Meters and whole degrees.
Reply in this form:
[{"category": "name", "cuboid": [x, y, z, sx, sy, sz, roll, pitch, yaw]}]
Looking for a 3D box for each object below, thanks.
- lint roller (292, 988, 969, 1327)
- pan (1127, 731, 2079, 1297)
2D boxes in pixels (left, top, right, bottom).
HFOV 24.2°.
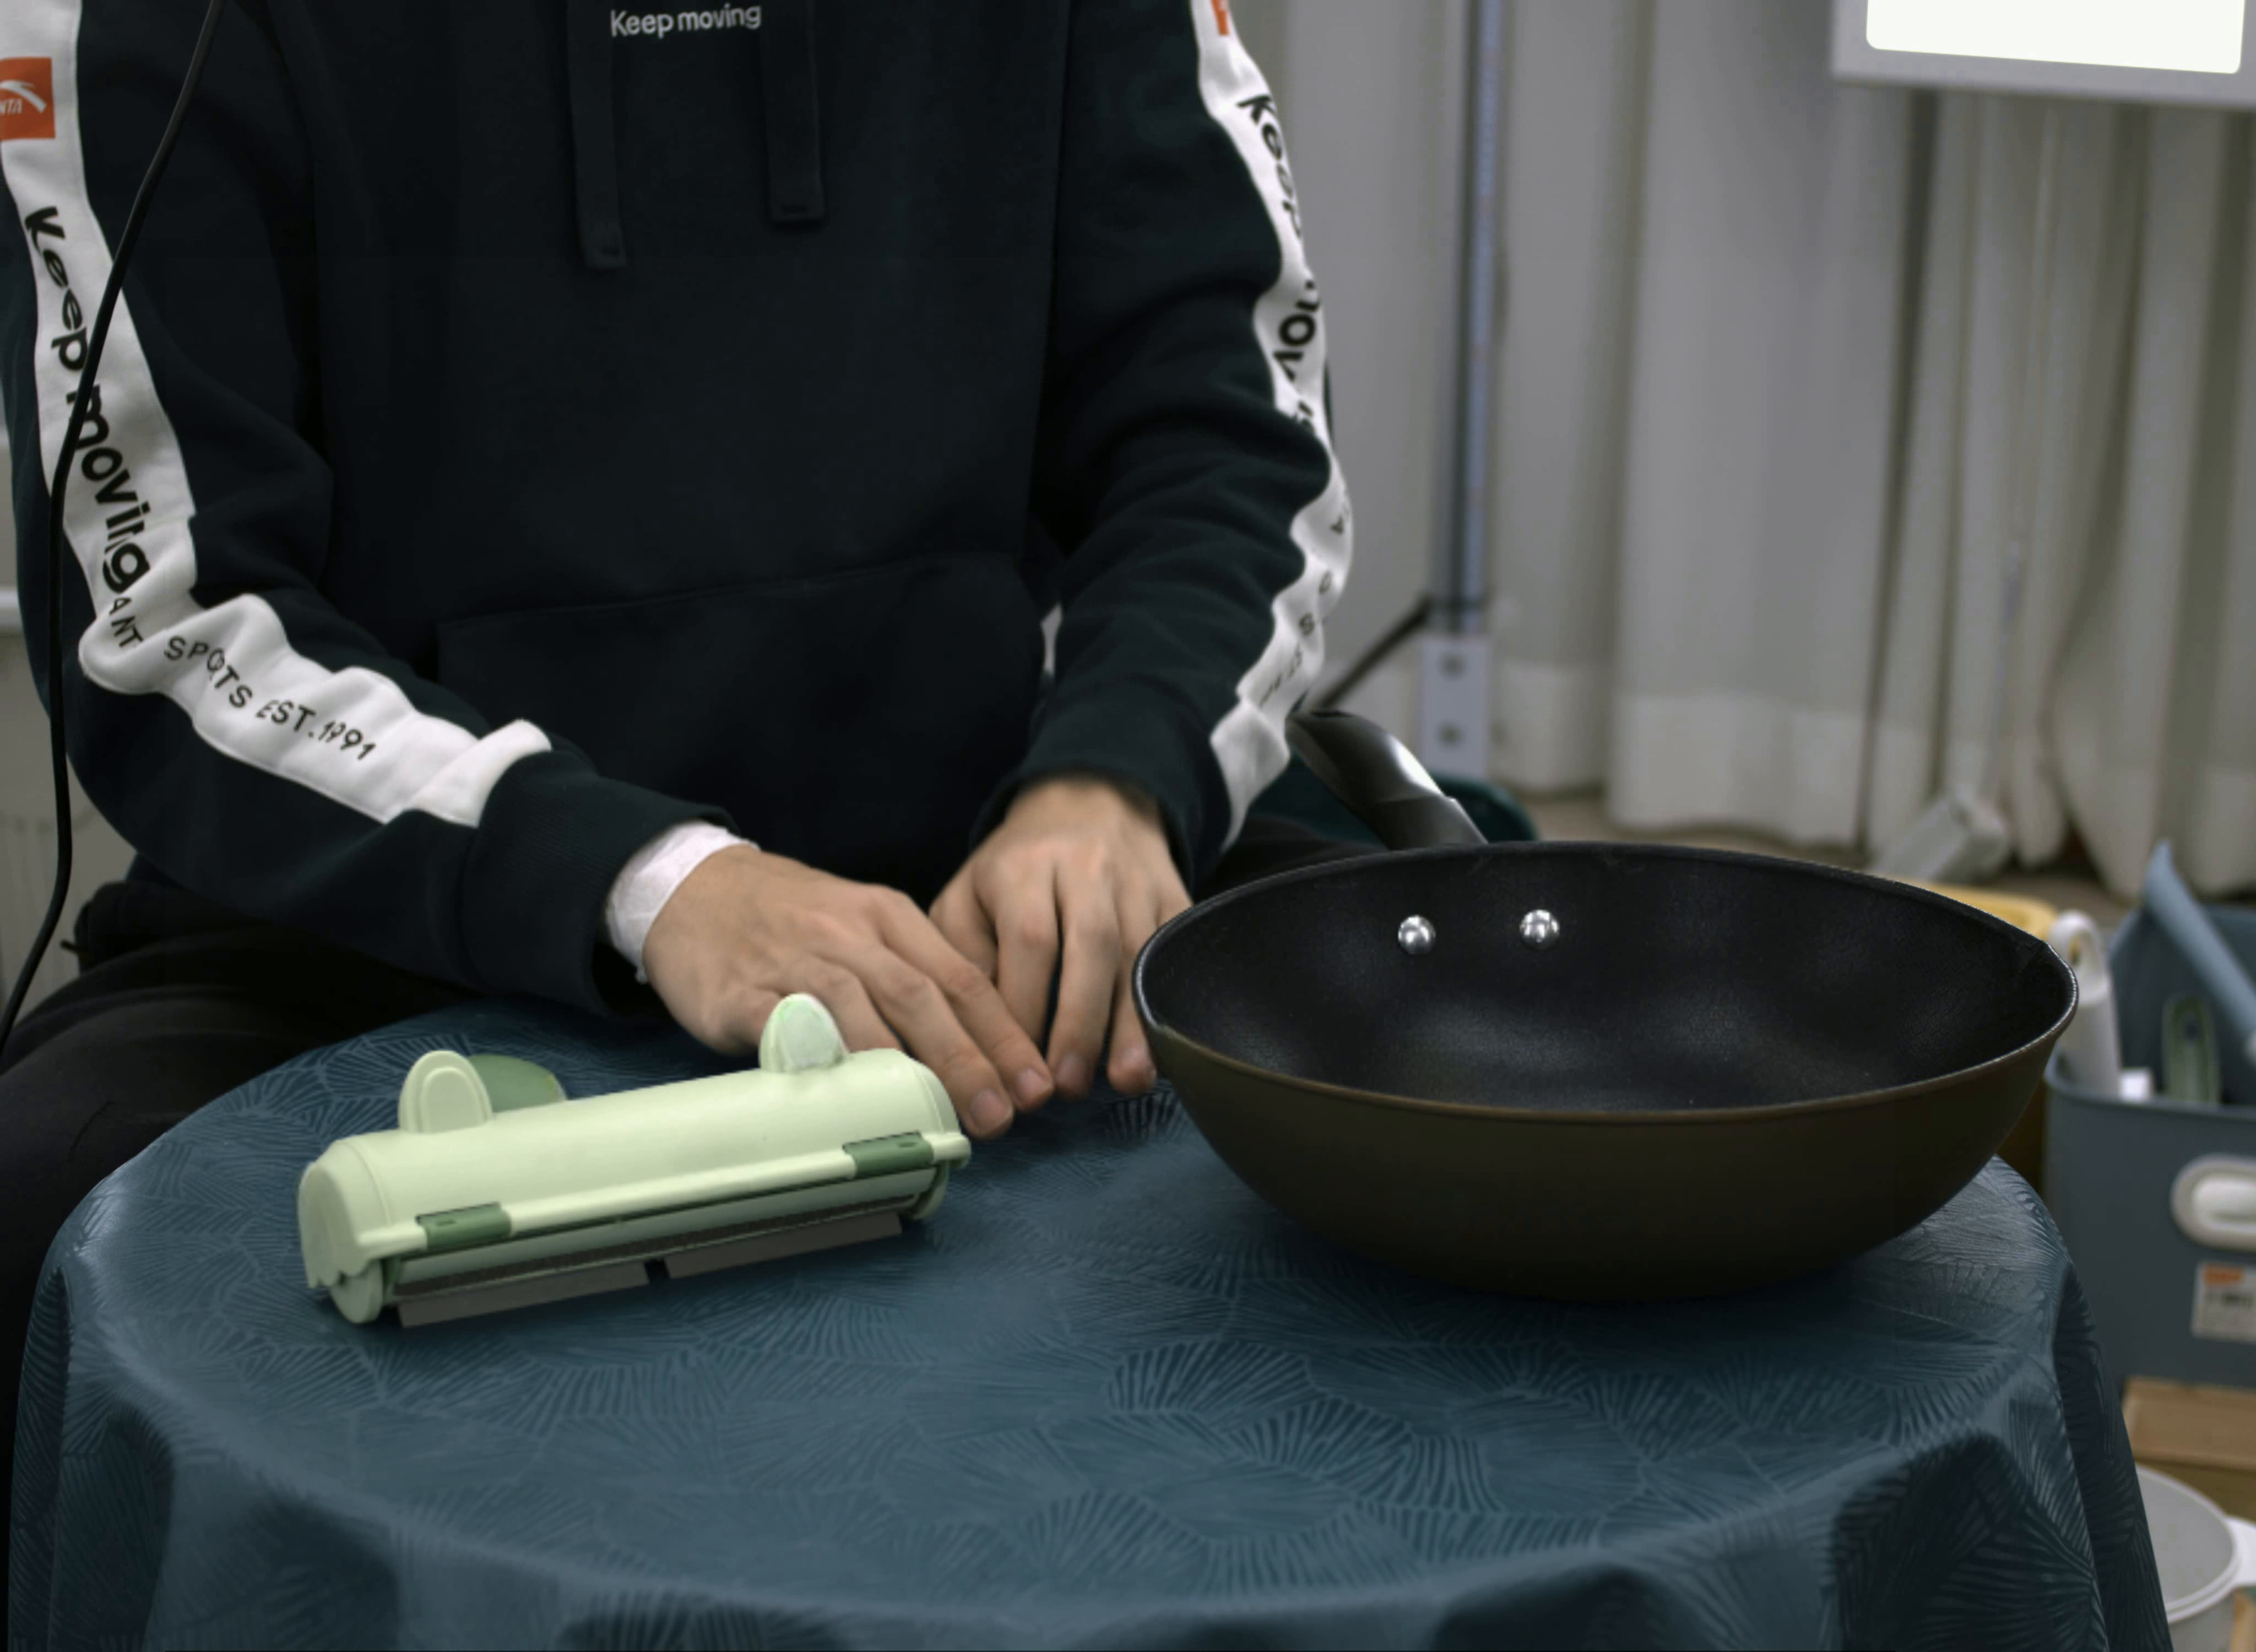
[{"category": "lint roller", "cuboid": [-0.172, 0.080, 1.587, 0.199, 0.083, 0.181, -9, 23, -28]}, {"category": "pan", "cuboid": [0.118, 0.057, 1.668, 0.288, 0.087, 0.459, -3, 15, -14]}]
